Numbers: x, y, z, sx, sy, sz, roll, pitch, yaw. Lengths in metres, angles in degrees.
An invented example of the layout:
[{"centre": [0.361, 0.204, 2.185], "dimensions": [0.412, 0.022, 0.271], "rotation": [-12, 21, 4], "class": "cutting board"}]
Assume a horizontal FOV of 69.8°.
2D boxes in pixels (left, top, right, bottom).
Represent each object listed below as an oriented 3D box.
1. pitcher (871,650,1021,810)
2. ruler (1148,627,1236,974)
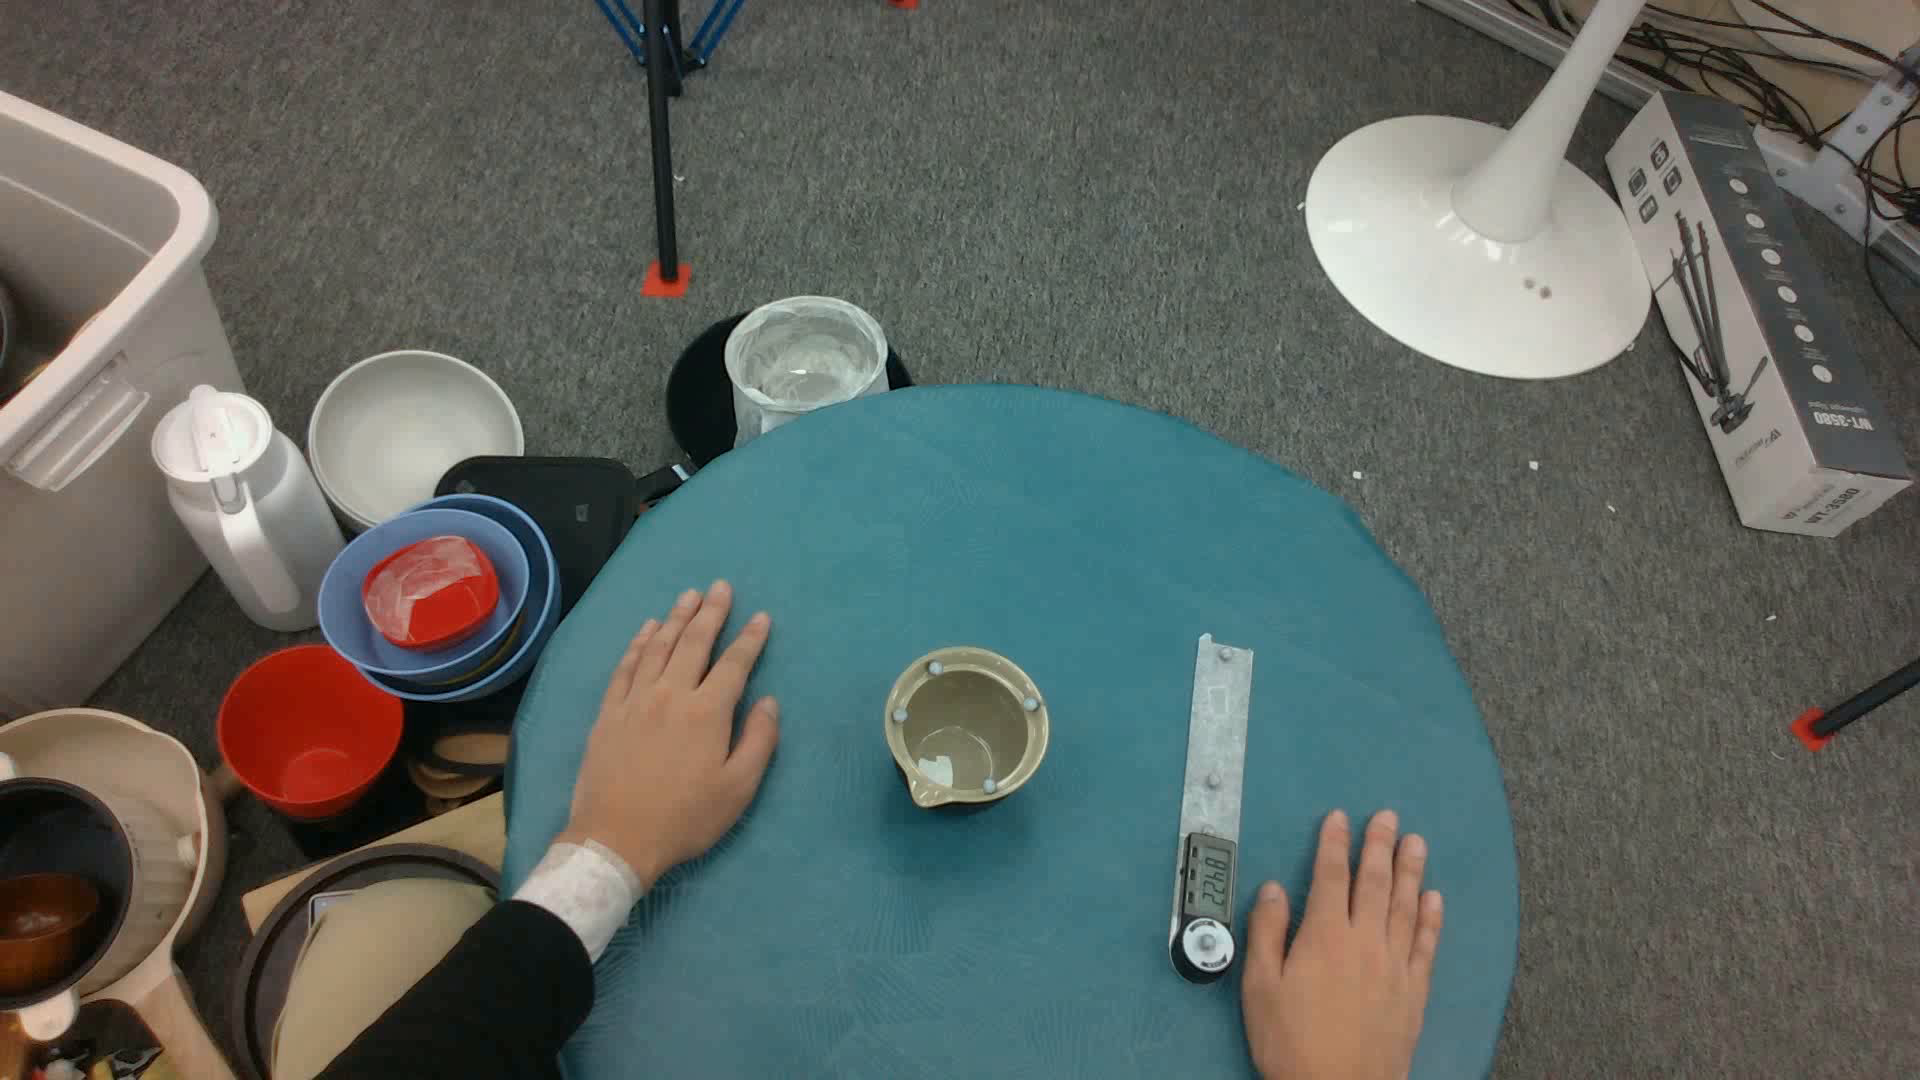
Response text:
[{"centre": [-0.013, 0.118, 0.786], "dimensions": [0.083, 0.071, 0.096], "rotation": [28, 57, 7], "class": "pitcher"}, {"centre": [0.143, 0.148, 0.824], "dimensions": [0.038, 0.024, 0.219], "rotation": [17, 58, -7], "class": "ruler"}]
